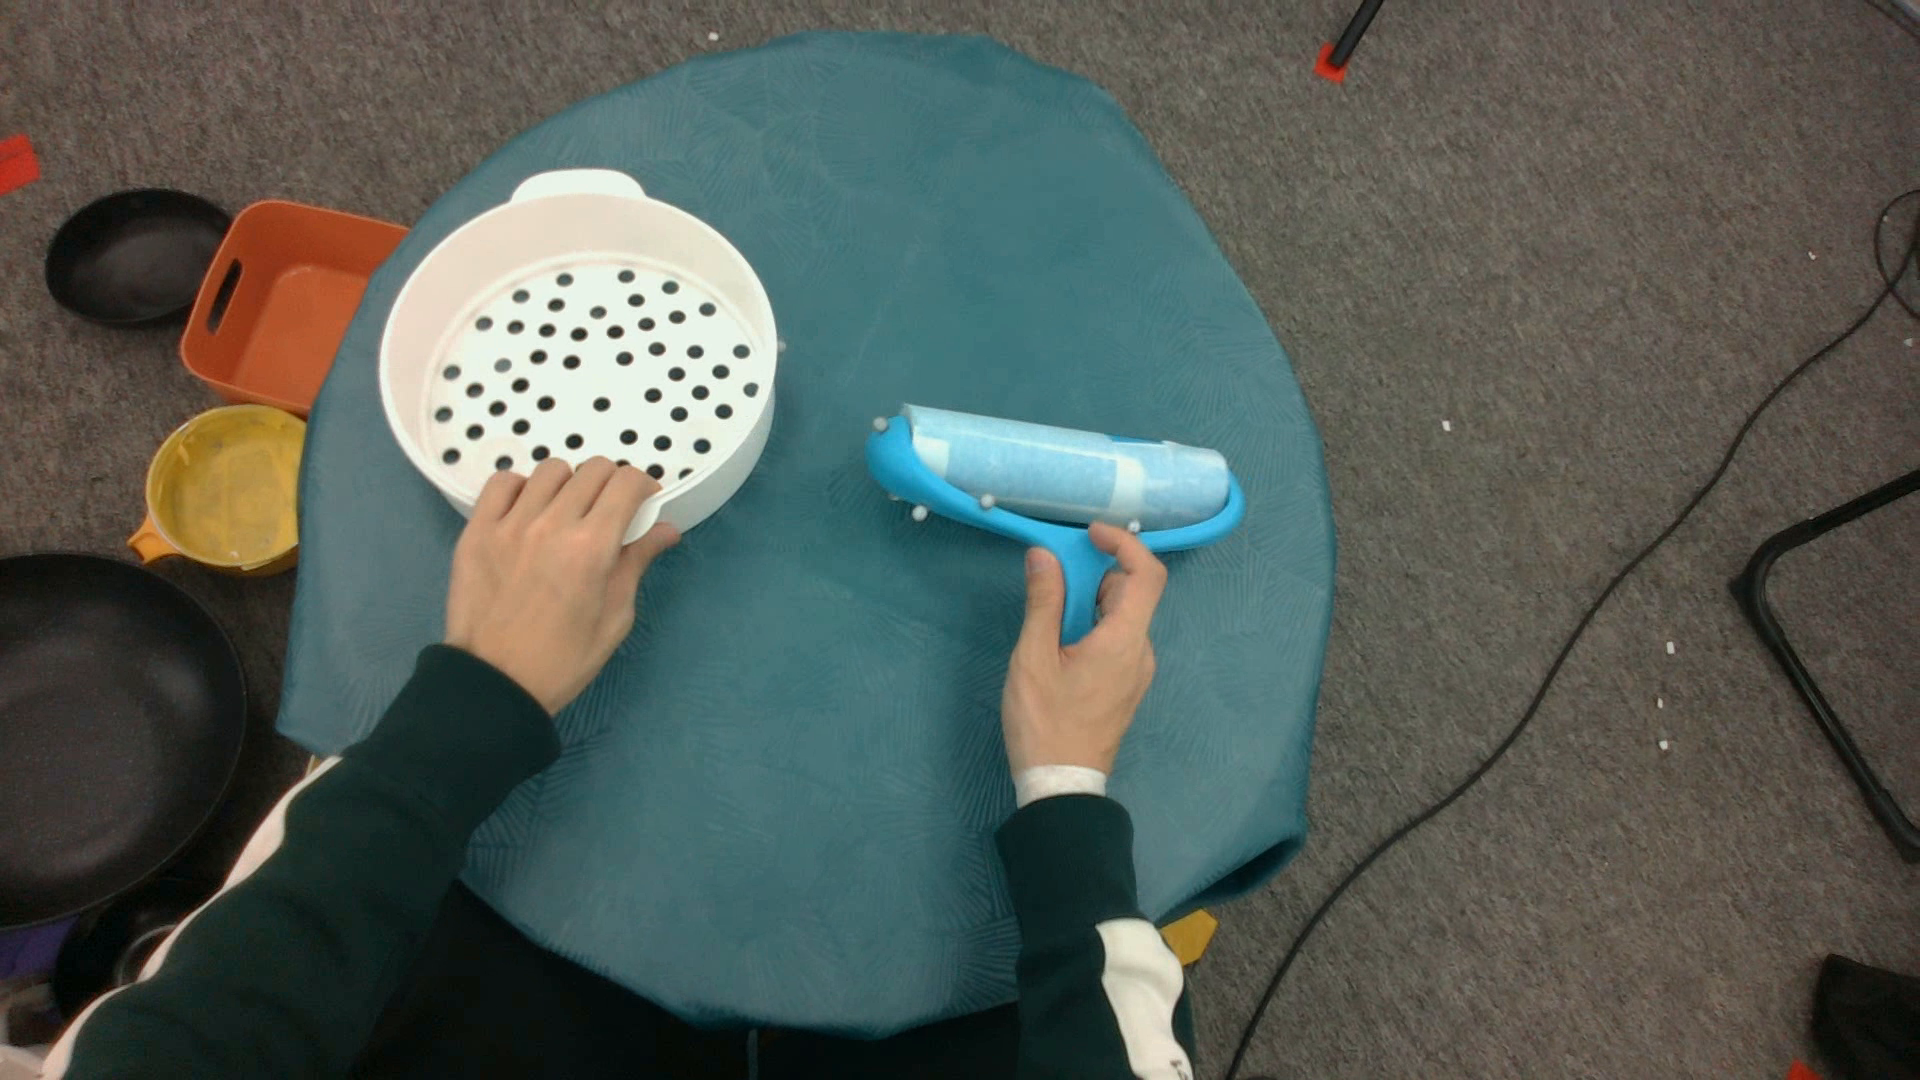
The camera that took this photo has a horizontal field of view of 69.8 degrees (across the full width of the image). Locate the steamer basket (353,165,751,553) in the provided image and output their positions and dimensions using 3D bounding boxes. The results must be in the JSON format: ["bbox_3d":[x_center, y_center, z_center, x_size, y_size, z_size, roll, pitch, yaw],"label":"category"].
[{"bbox_3d":[-0.215,-0.091,0.744,0.202,0.069,0.231,-9,68,-5],"label":"steamer basket"}]

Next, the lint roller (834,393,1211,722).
[{"bbox_3d":[0.046,0.006,0.768,0.229,0.067,0.180,1,70,-25],"label":"lint roller"}]
